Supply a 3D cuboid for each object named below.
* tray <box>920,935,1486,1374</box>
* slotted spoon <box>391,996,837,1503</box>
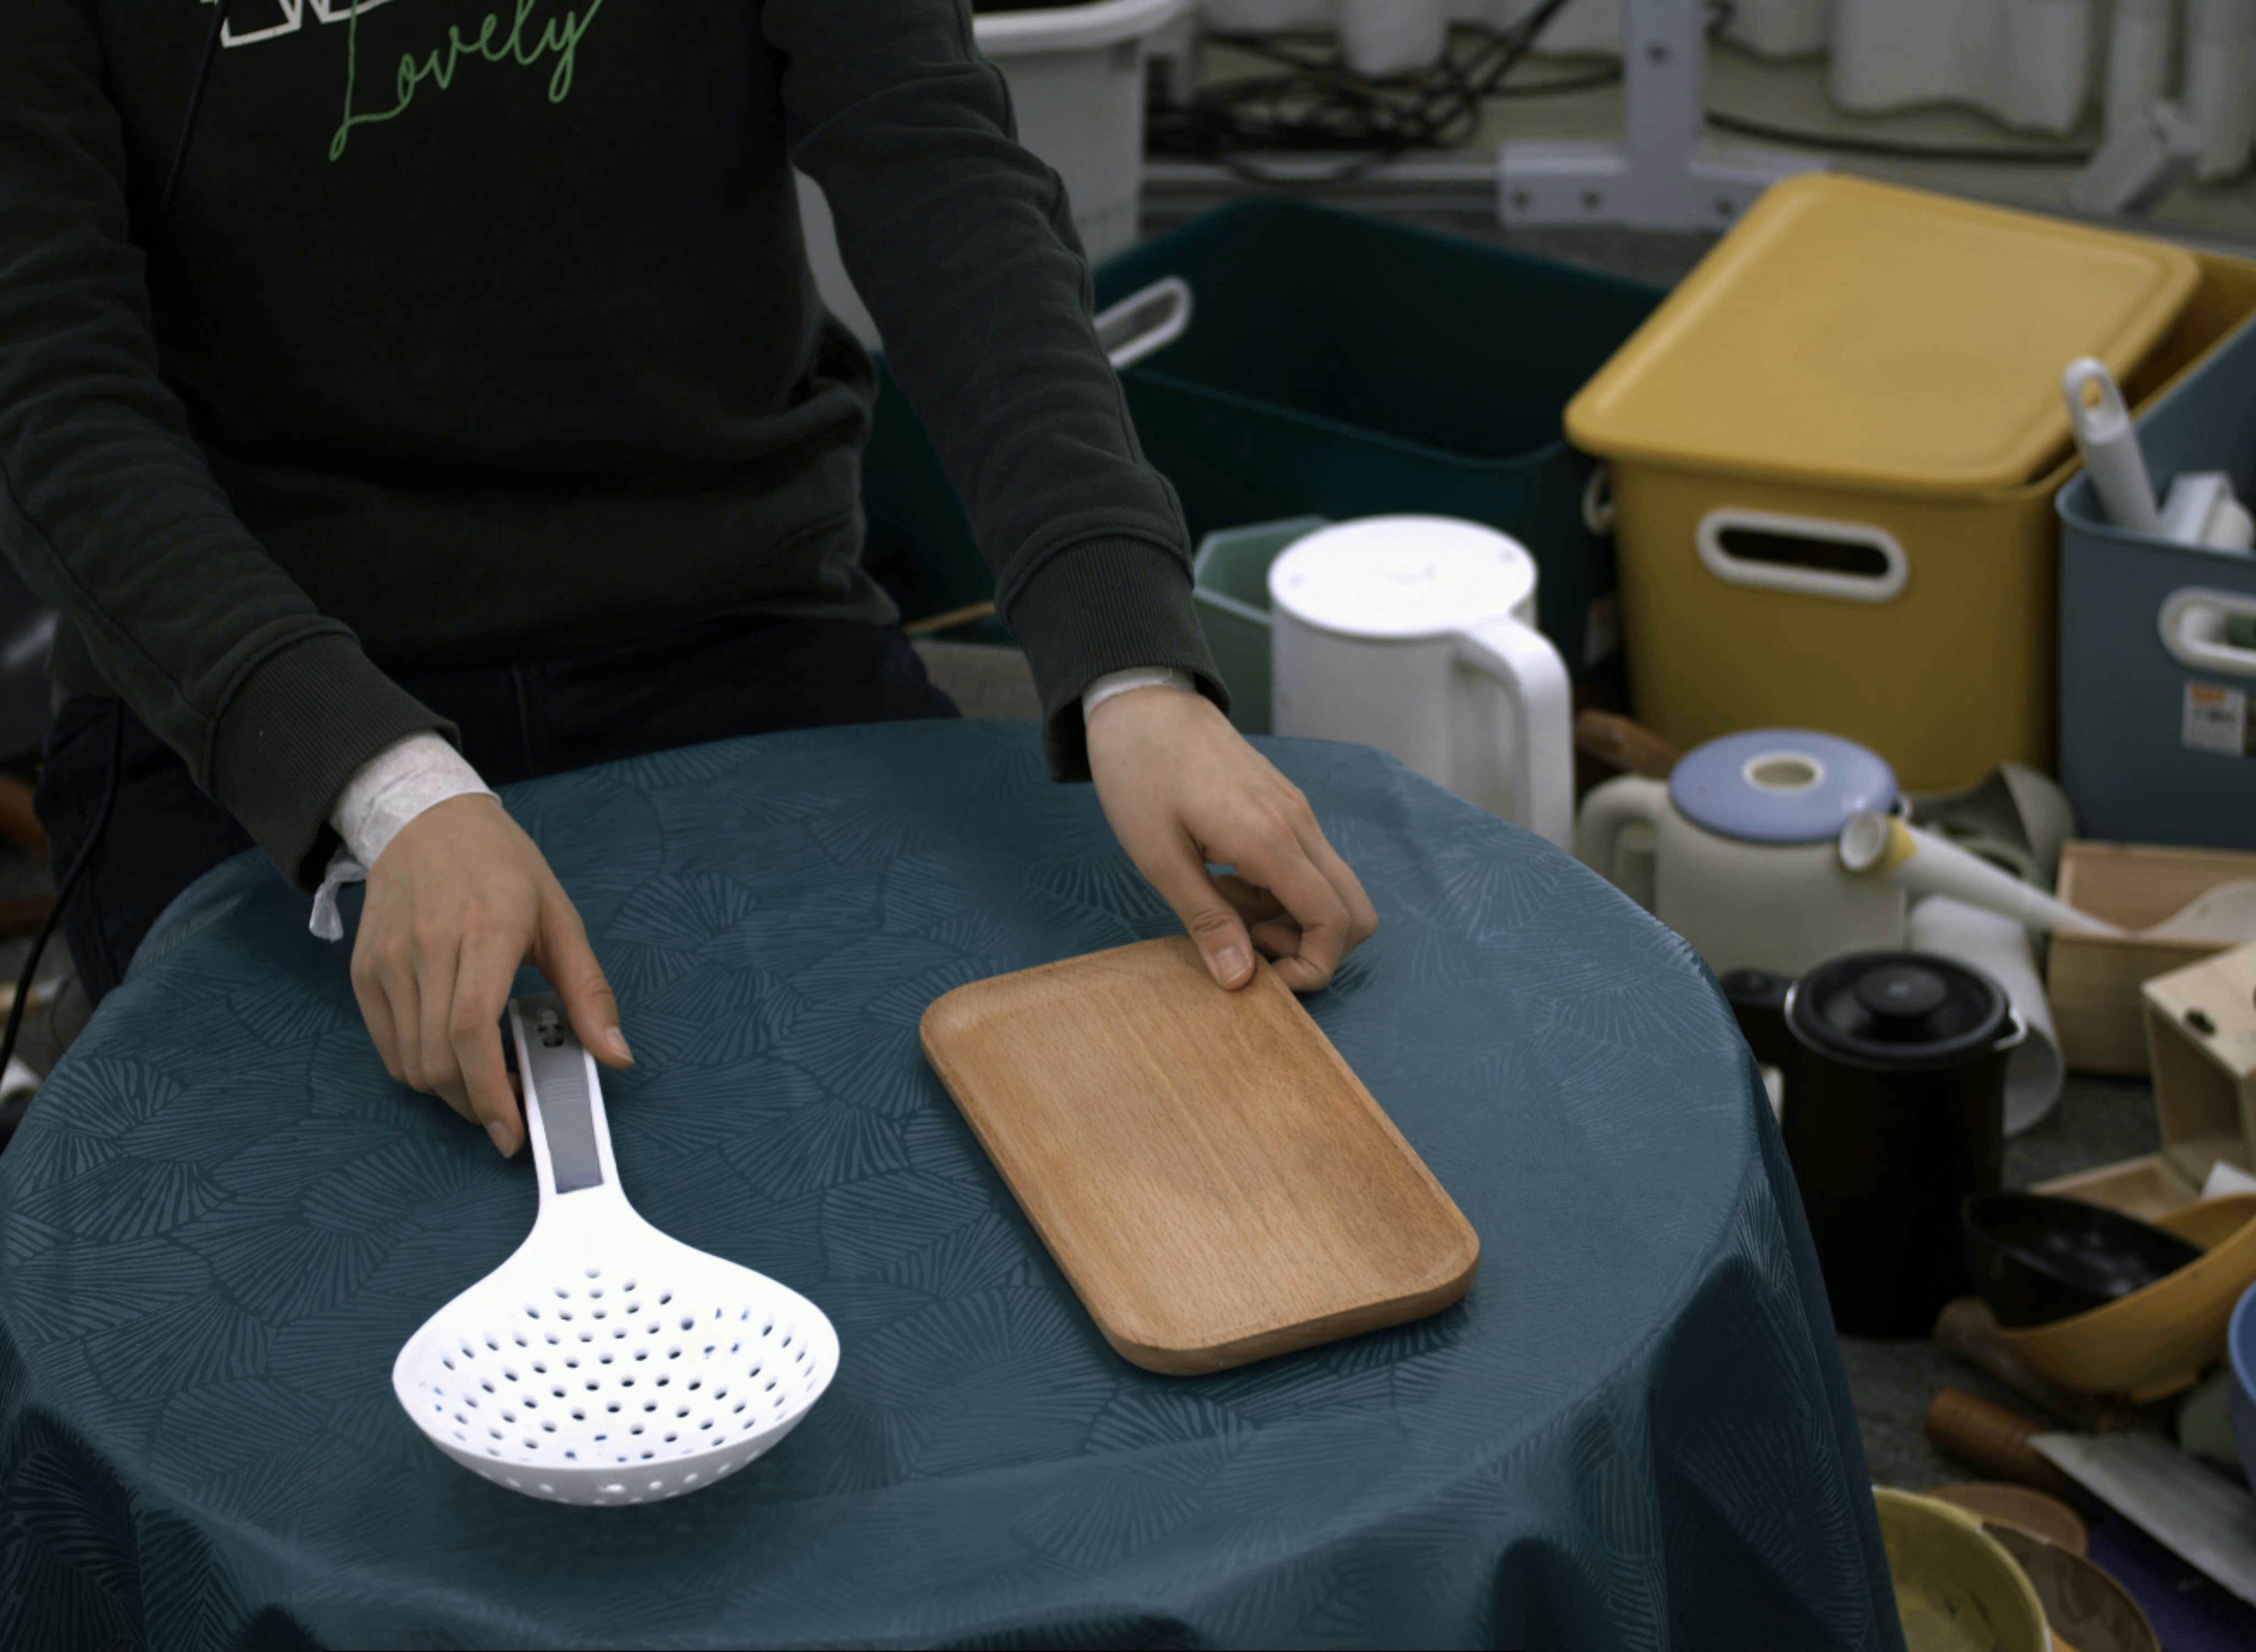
[{"bbox_3d":[0.021,0.106,1.868,0.131,0.022,0.253,-10,27,-16],"label":"tray"},{"bbox_3d":[-0.175,0.130,1.813,0.136,0.045,0.354,-4,26,-9],"label":"slotted spoon"}]
